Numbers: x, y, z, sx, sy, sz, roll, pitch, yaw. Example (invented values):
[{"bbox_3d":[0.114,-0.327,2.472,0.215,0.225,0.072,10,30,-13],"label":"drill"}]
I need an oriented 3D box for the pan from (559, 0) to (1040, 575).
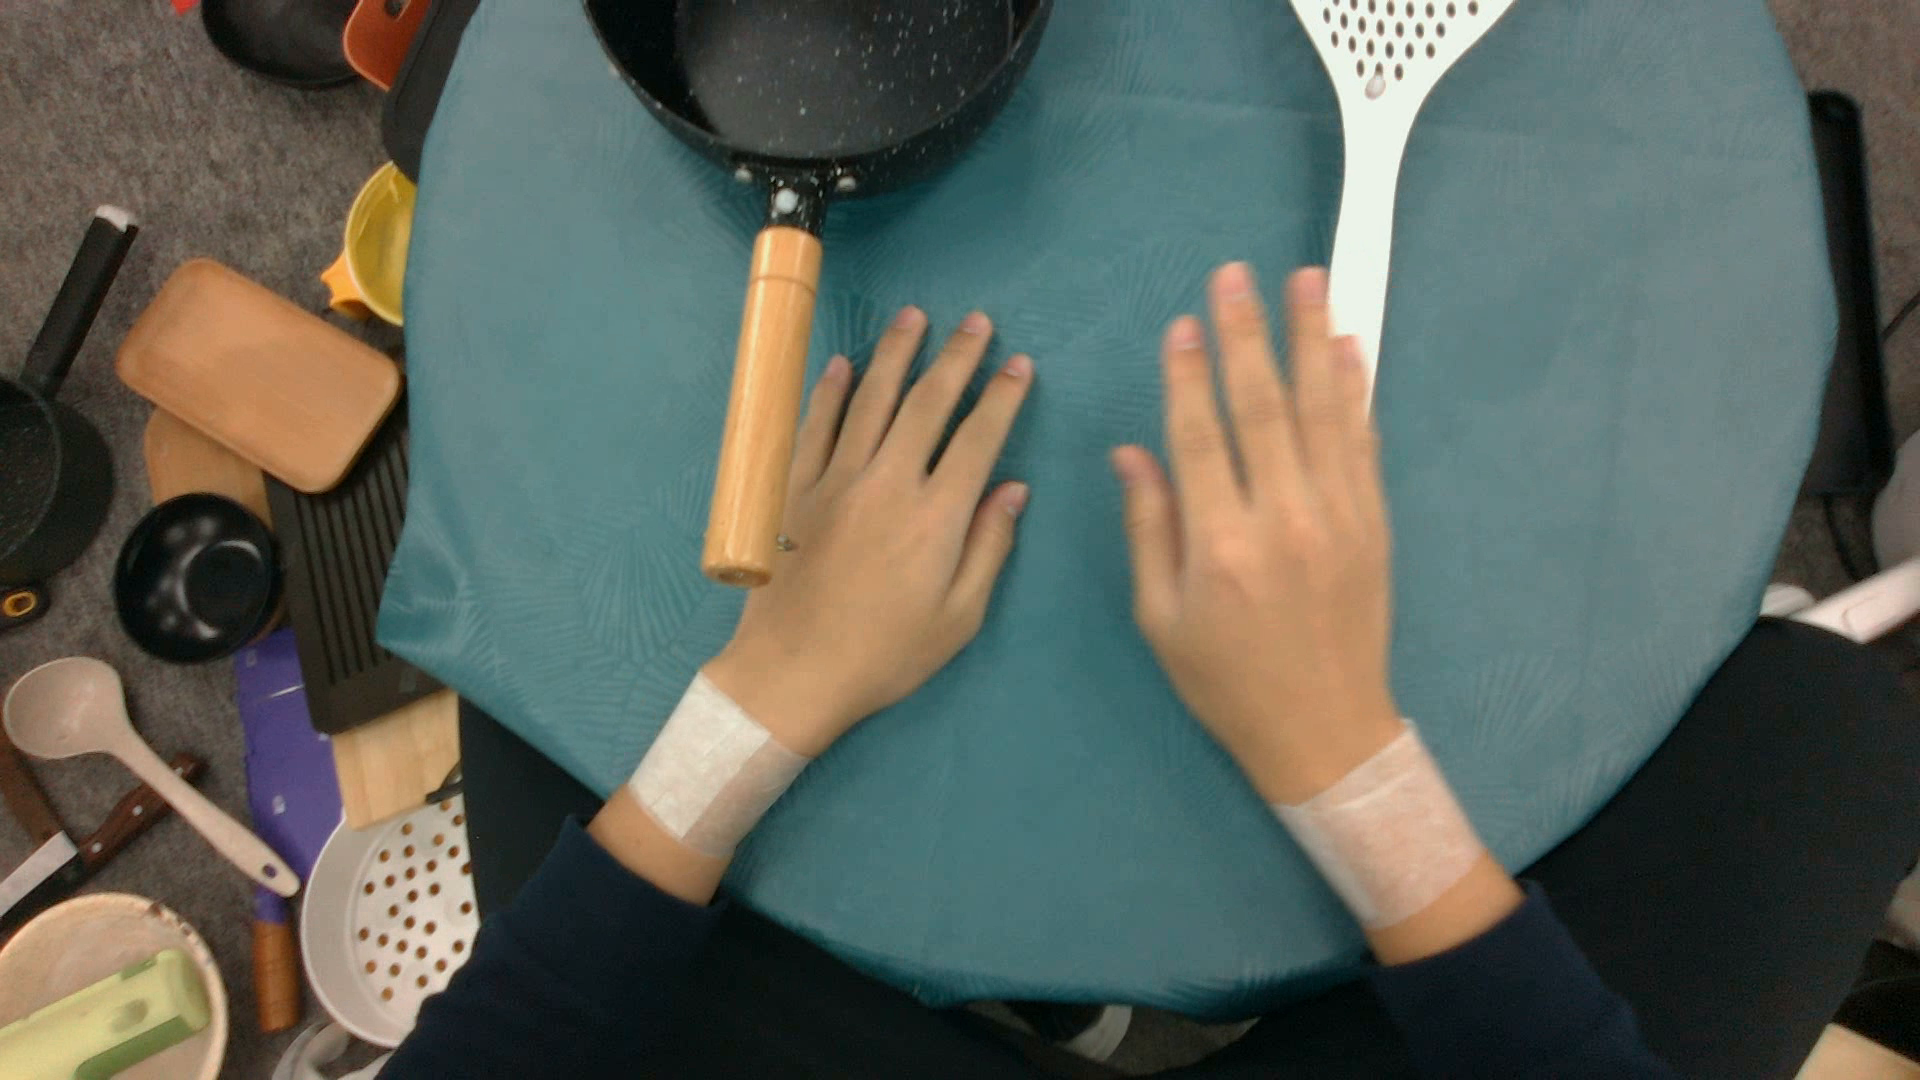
[{"bbox_3d":[-0.064,-0.151,0.541,0.207,0.108,0.343,3,81,2],"label":"pan"}]

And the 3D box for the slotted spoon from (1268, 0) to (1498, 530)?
[{"bbox_3d":[0.165,-0.179,0.567,0.137,0.050,0.348,7,81,-2],"label":"slotted spoon"}]
